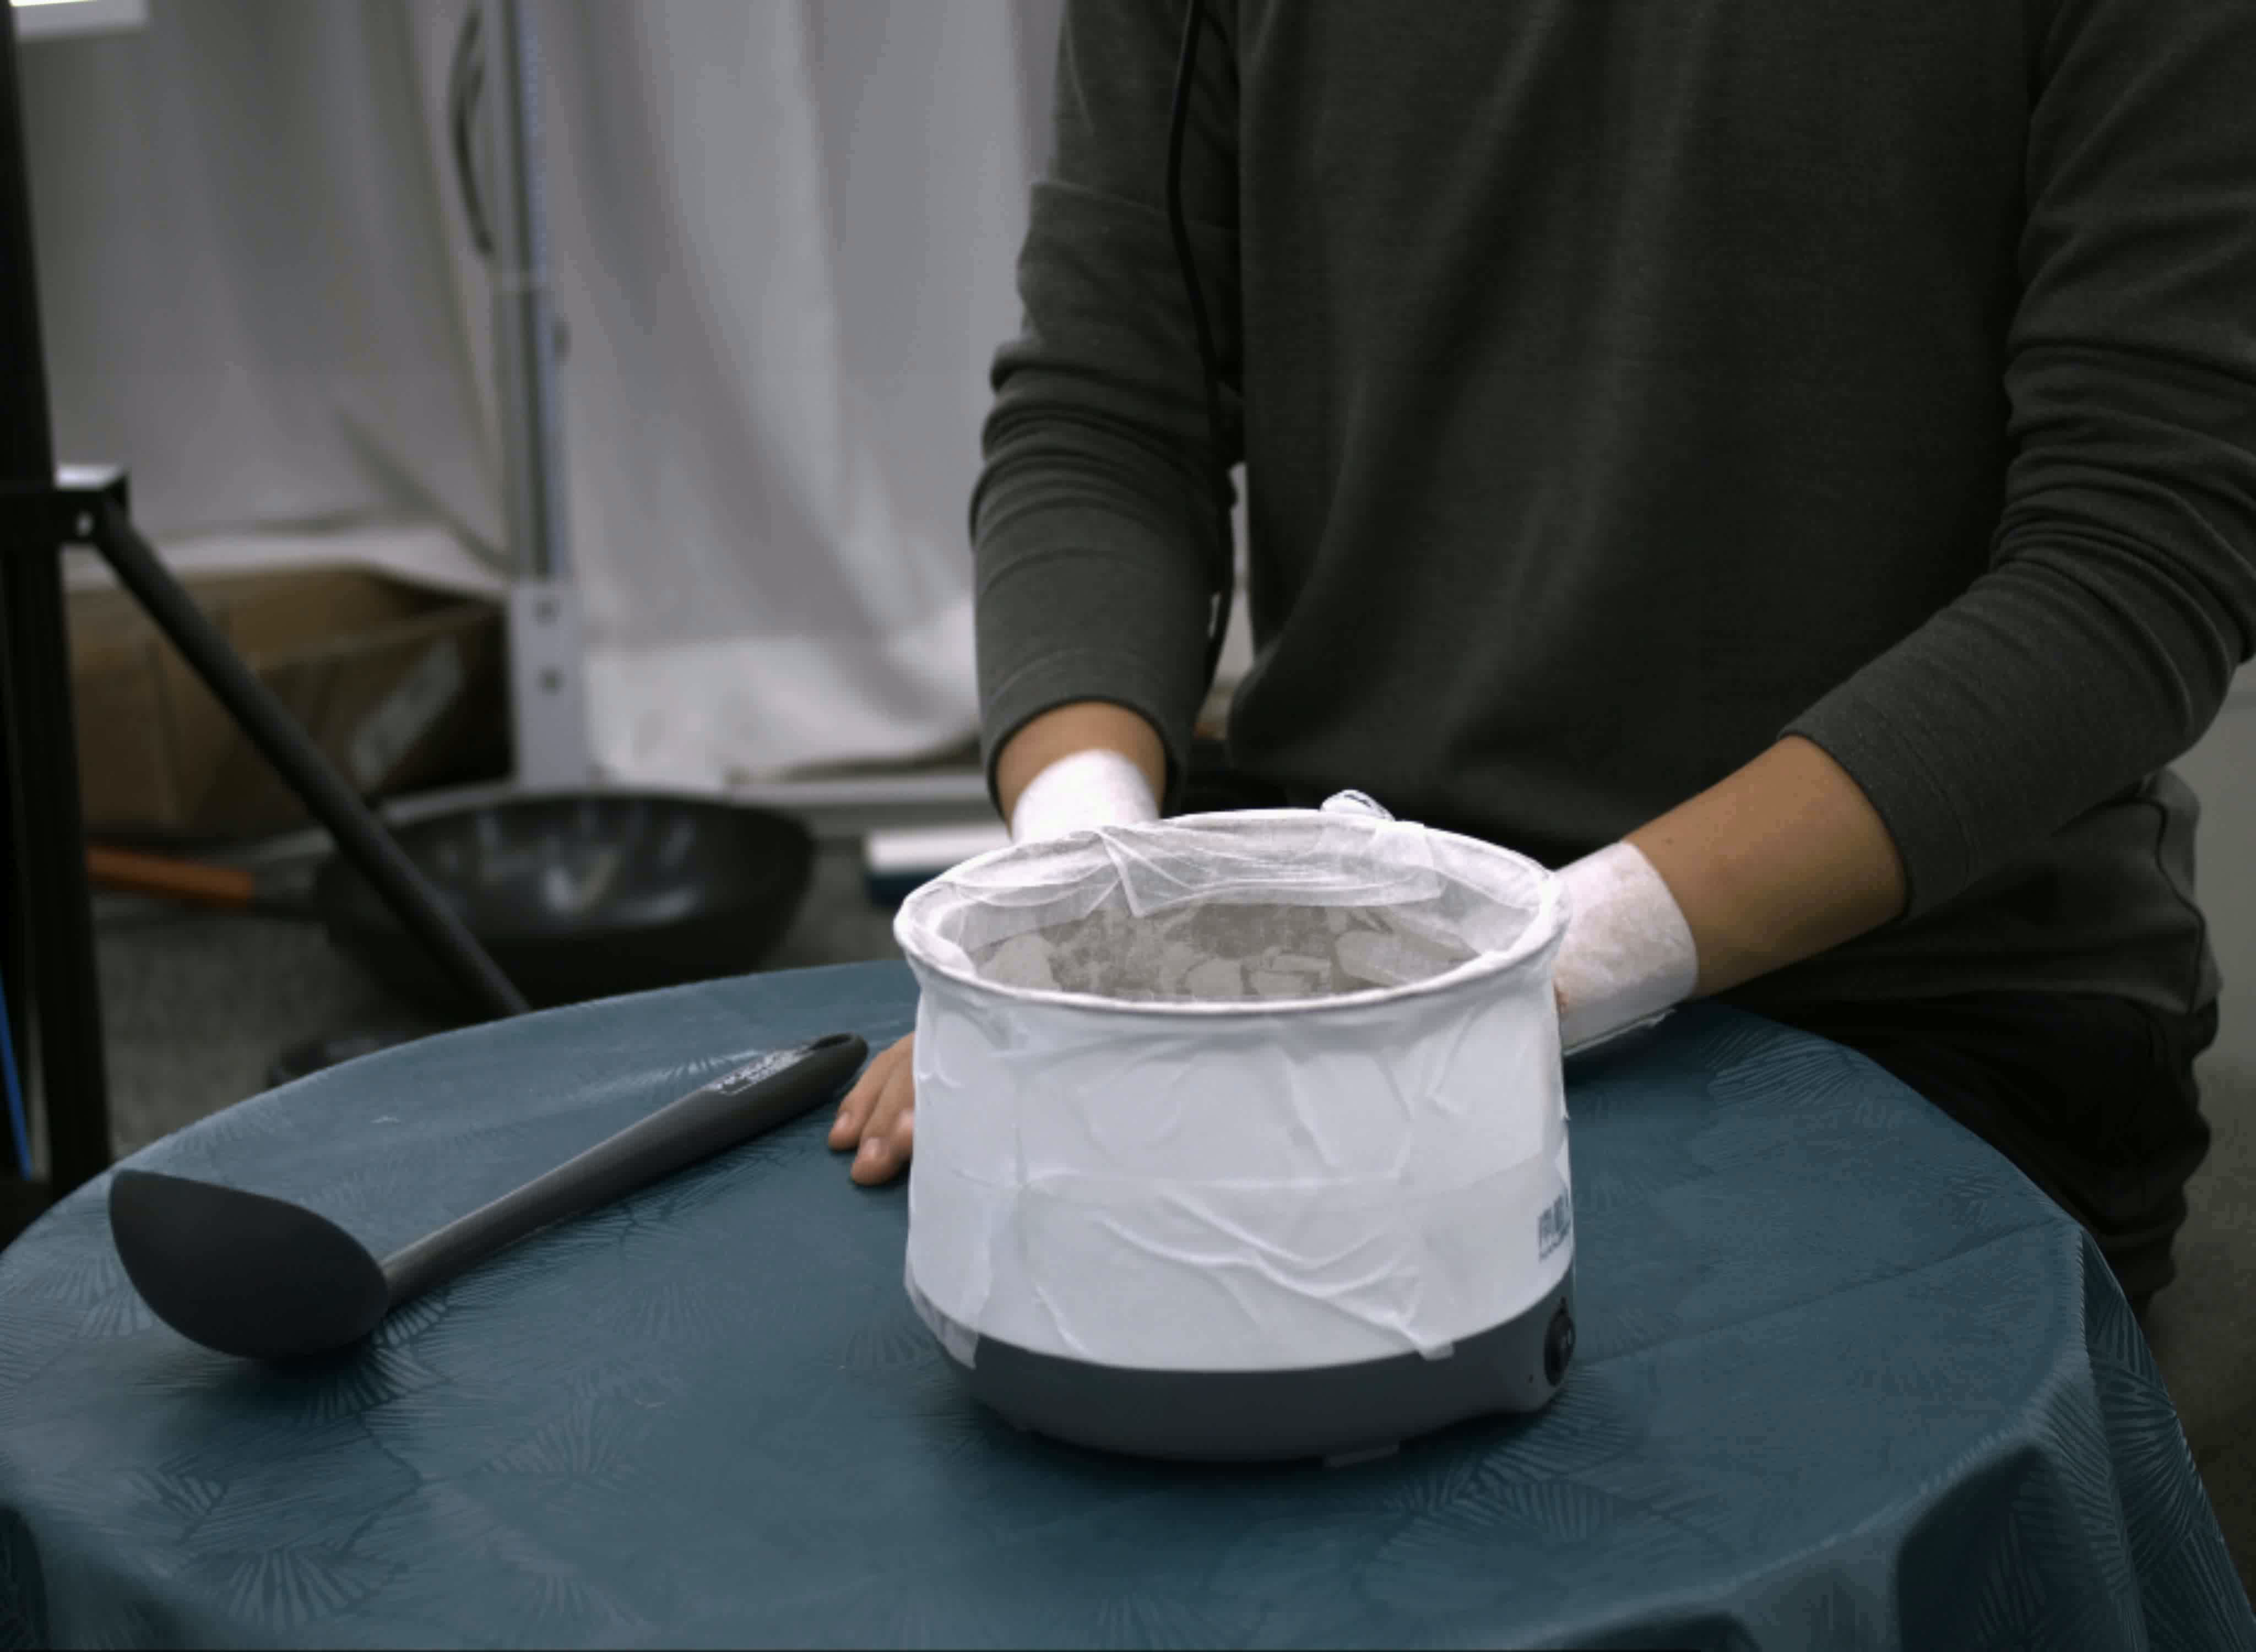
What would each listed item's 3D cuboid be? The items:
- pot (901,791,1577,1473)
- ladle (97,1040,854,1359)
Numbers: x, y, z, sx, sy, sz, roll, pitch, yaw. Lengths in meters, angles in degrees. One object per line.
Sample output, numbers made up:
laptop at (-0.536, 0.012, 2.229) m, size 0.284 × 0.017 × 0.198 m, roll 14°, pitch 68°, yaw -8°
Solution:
pot at (0.039, 0.075, 1.424) m, size 0.181 × 0.136 × 0.231 m, roll 4°, pitch 16°, yaw 20°
ladle at (-0.172, 0.088, 1.545) m, size 0.088 × 0.064 × 0.308 m, roll 13°, pitch 21°, yaw 31°
